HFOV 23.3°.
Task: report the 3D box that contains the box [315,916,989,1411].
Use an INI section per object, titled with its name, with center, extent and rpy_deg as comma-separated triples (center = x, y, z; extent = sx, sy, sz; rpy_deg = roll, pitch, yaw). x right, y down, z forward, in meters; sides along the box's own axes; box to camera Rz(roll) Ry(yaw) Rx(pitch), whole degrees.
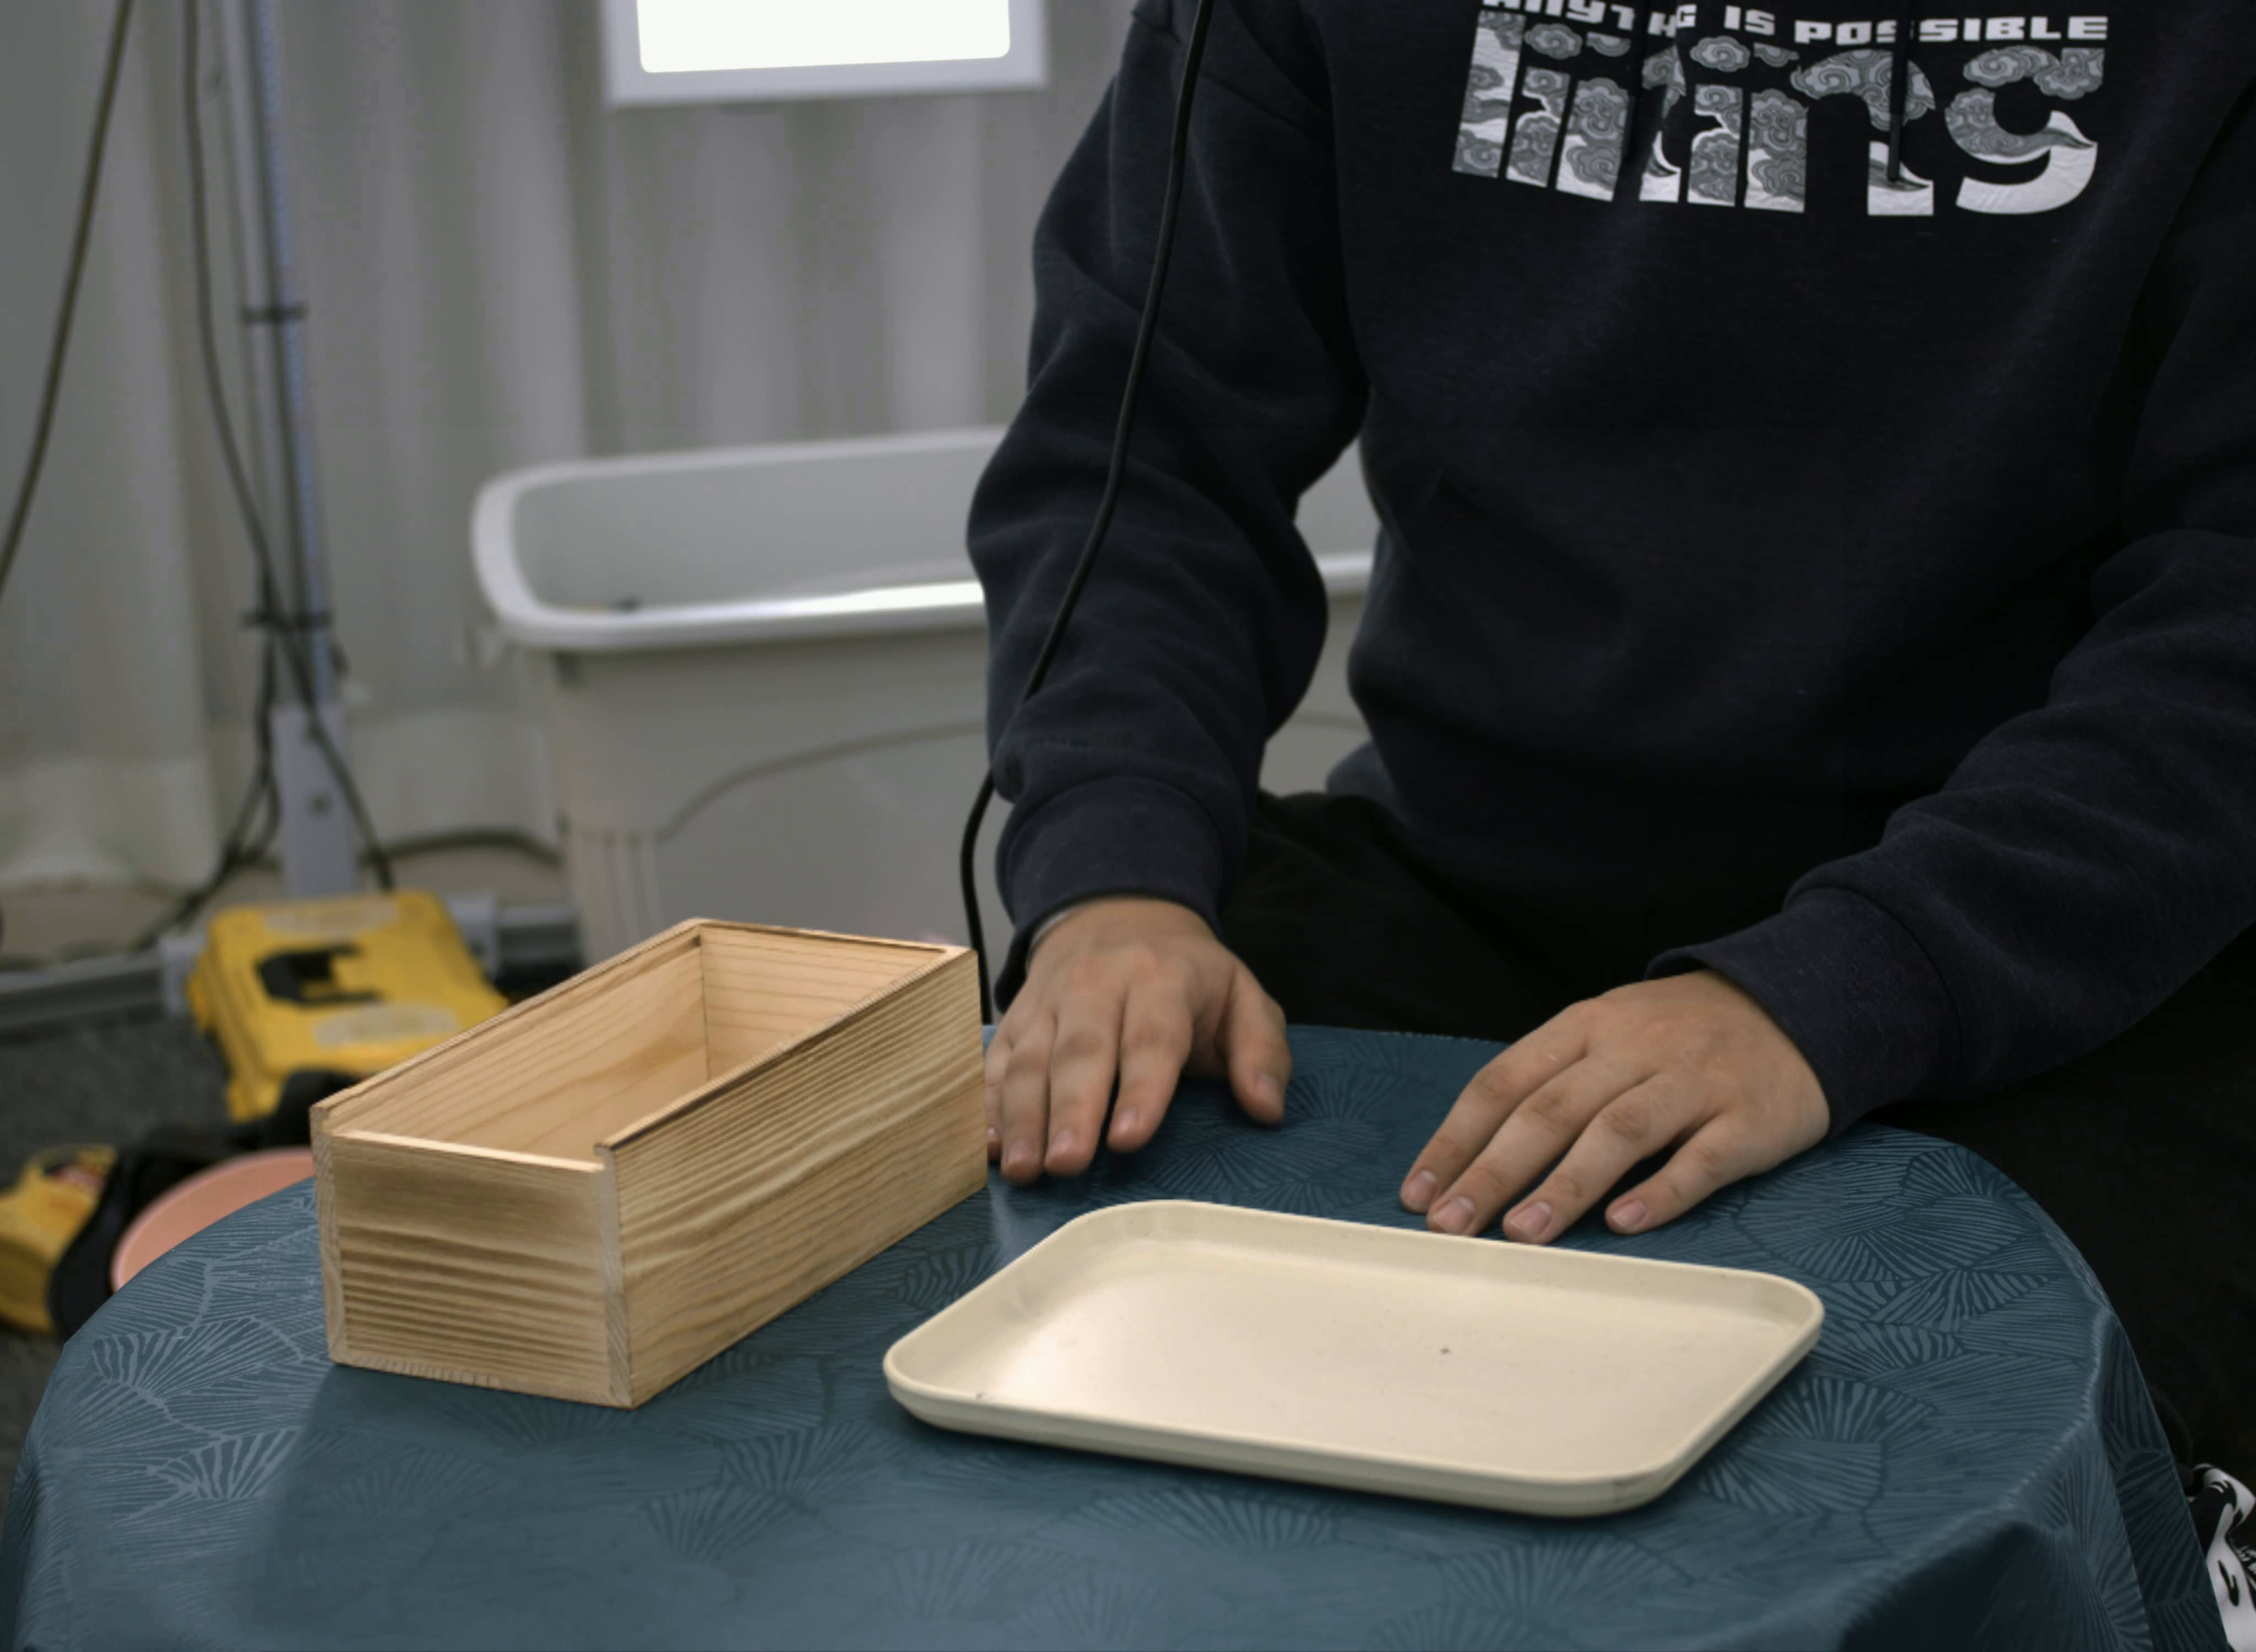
[box]
center = -0.139, 0.098, 1.652
extent = 0.108, 0.080, 0.212
rpy_deg = 5, 17, 27

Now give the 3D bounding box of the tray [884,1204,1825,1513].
[tray]
center = 0.065, 0.149, 1.542
extent = 0.240, 0.017, 0.171
rpy_deg = 5, 16, 26
